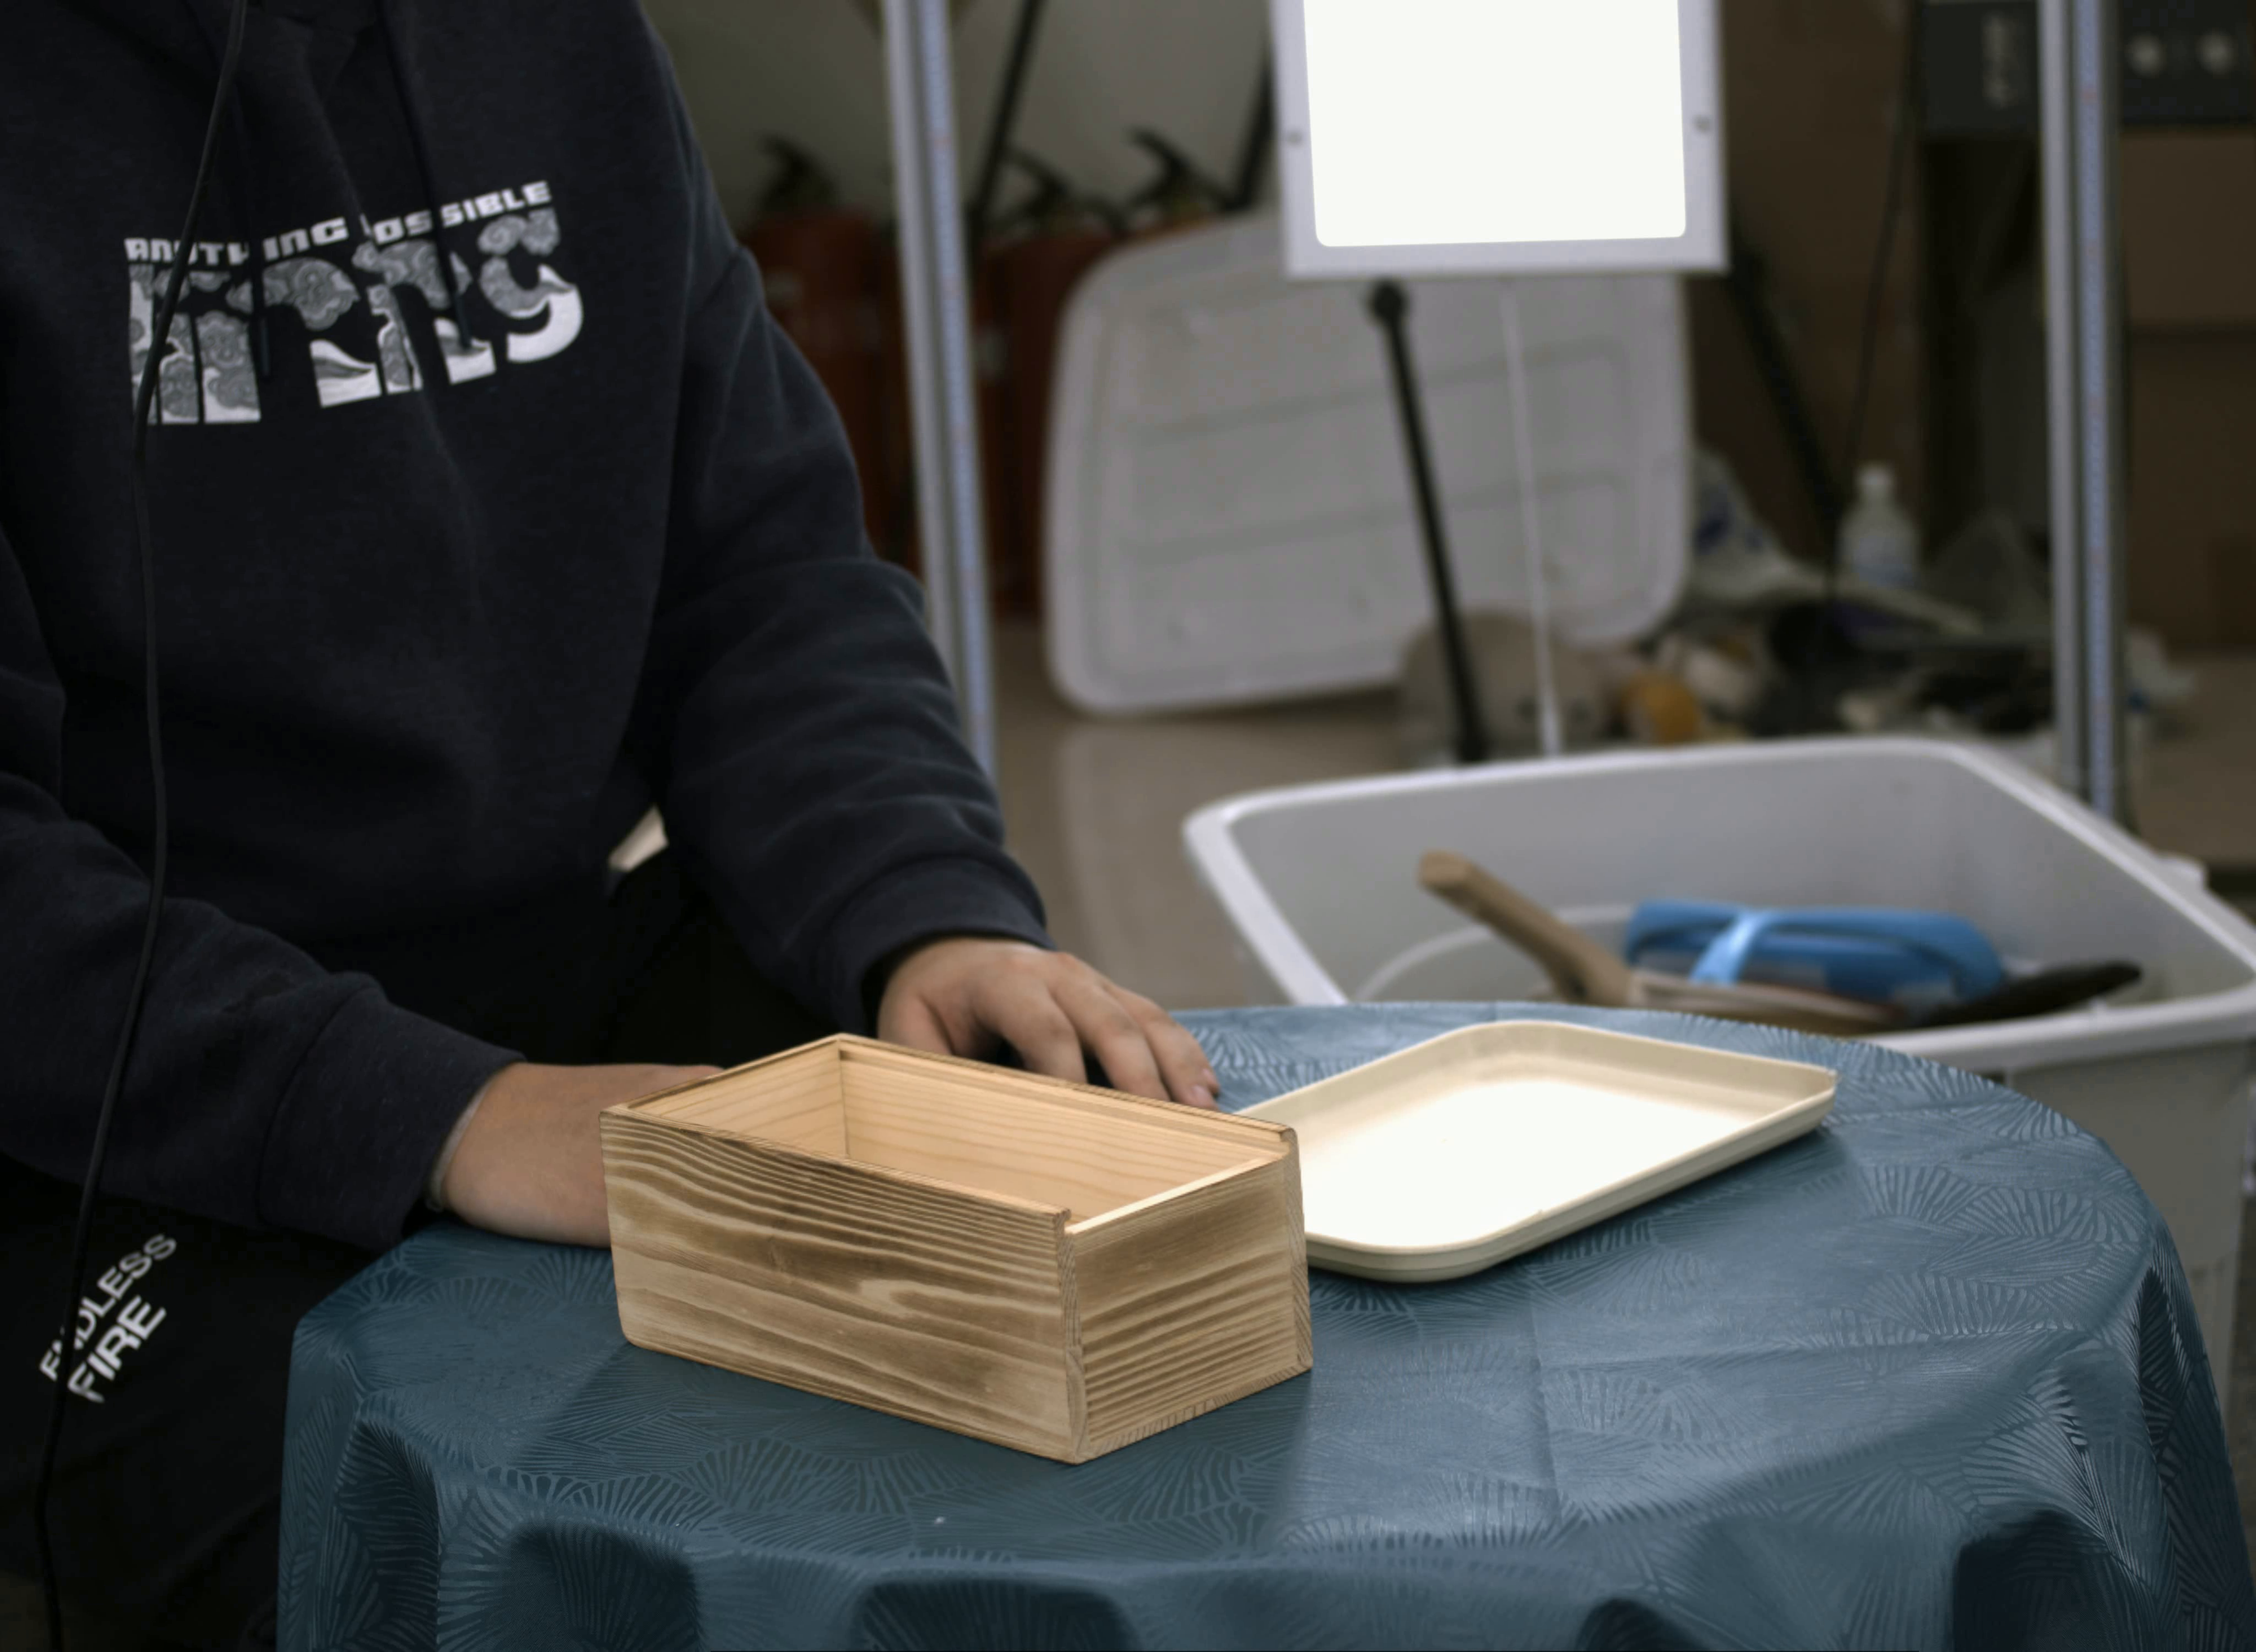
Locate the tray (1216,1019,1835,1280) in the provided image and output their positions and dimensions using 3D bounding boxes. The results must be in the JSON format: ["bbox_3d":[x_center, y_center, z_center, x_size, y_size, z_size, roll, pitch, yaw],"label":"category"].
[{"bbox_3d":[0.118,0.110,1.887,0.233,0.017,0.175,-18,18,-42],"label":"tray"}]

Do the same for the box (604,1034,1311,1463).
[{"bbox_3d":[-0.056,0.129,1.737,0.105,0.080,0.216,-16,17,-42],"label":"box"}]
